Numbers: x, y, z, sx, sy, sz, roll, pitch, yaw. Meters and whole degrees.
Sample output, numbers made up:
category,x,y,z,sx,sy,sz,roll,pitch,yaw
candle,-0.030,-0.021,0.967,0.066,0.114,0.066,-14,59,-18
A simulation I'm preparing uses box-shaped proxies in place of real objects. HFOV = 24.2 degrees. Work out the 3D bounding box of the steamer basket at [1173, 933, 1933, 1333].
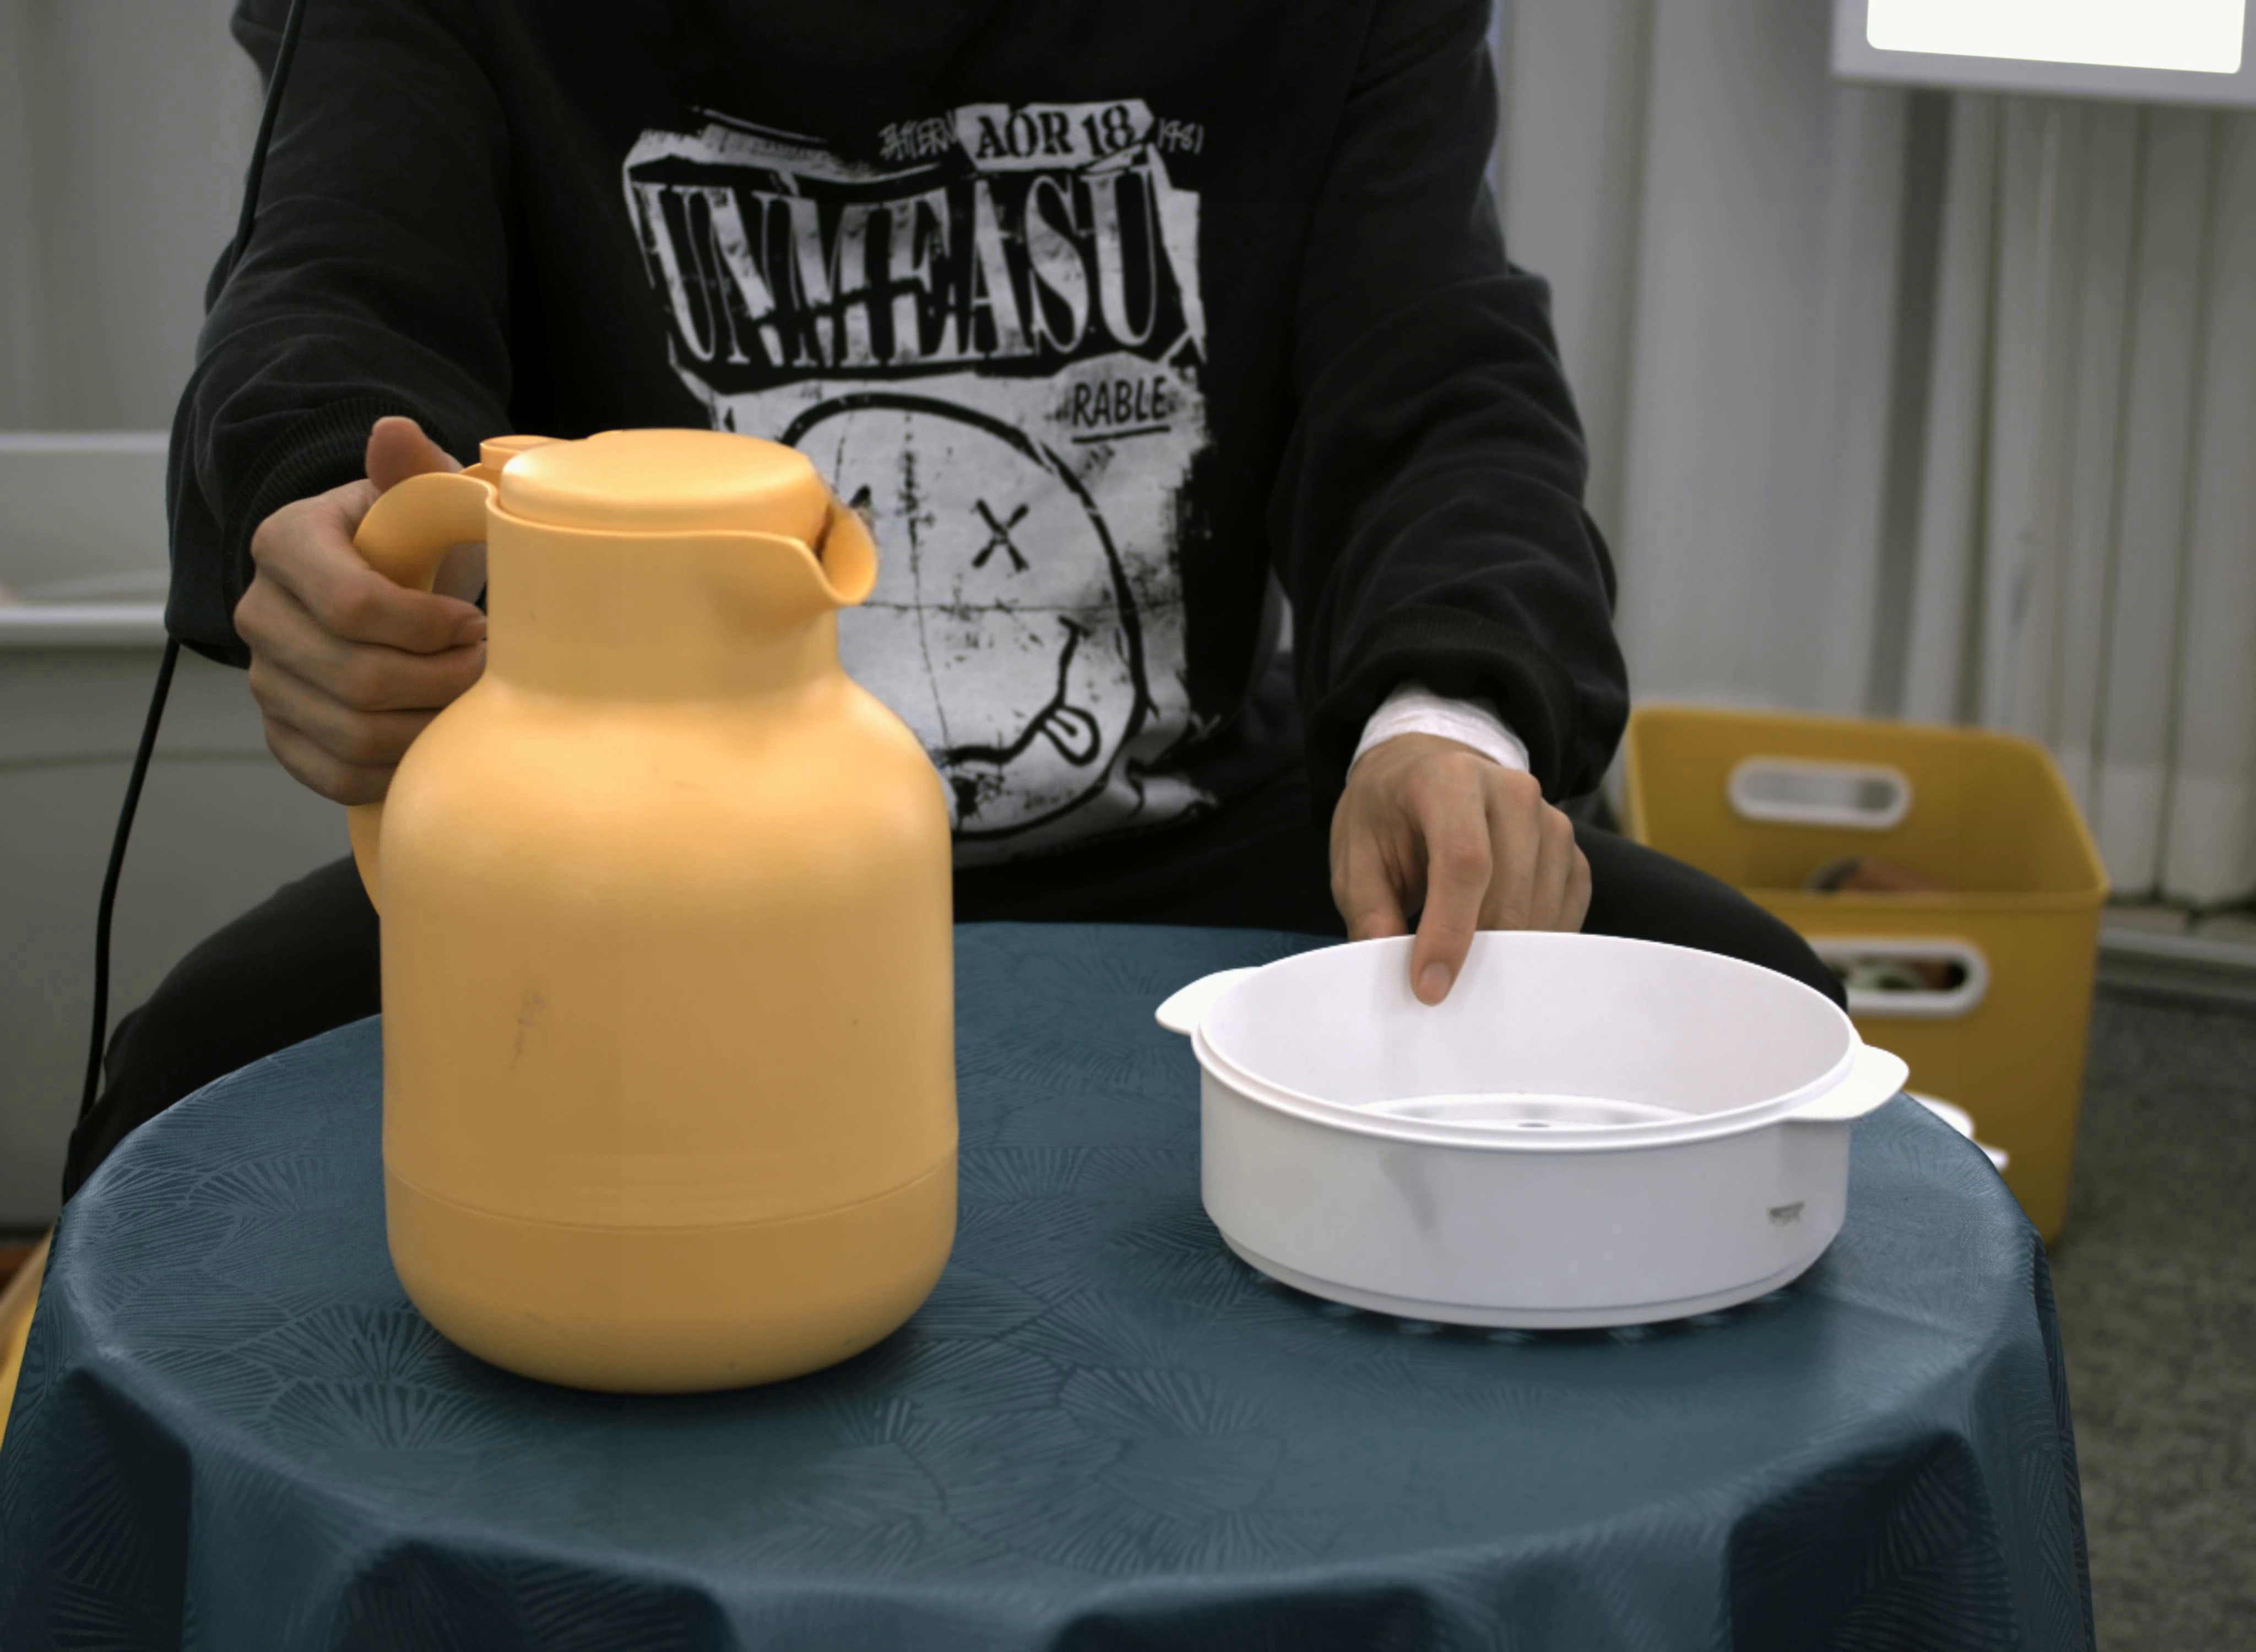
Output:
category,x,y,z,sx,sy,sz,roll,pitch,yaw
steamer basket,0.123,0.091,1.575,0.228,0.070,0.202,10,17,22

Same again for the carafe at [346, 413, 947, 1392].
category,x,y,z,sx,sy,sz,roll,pitch,yaw
carafe,-0.144,0.013,1.483,0.199,0.262,0.164,17,20,40
